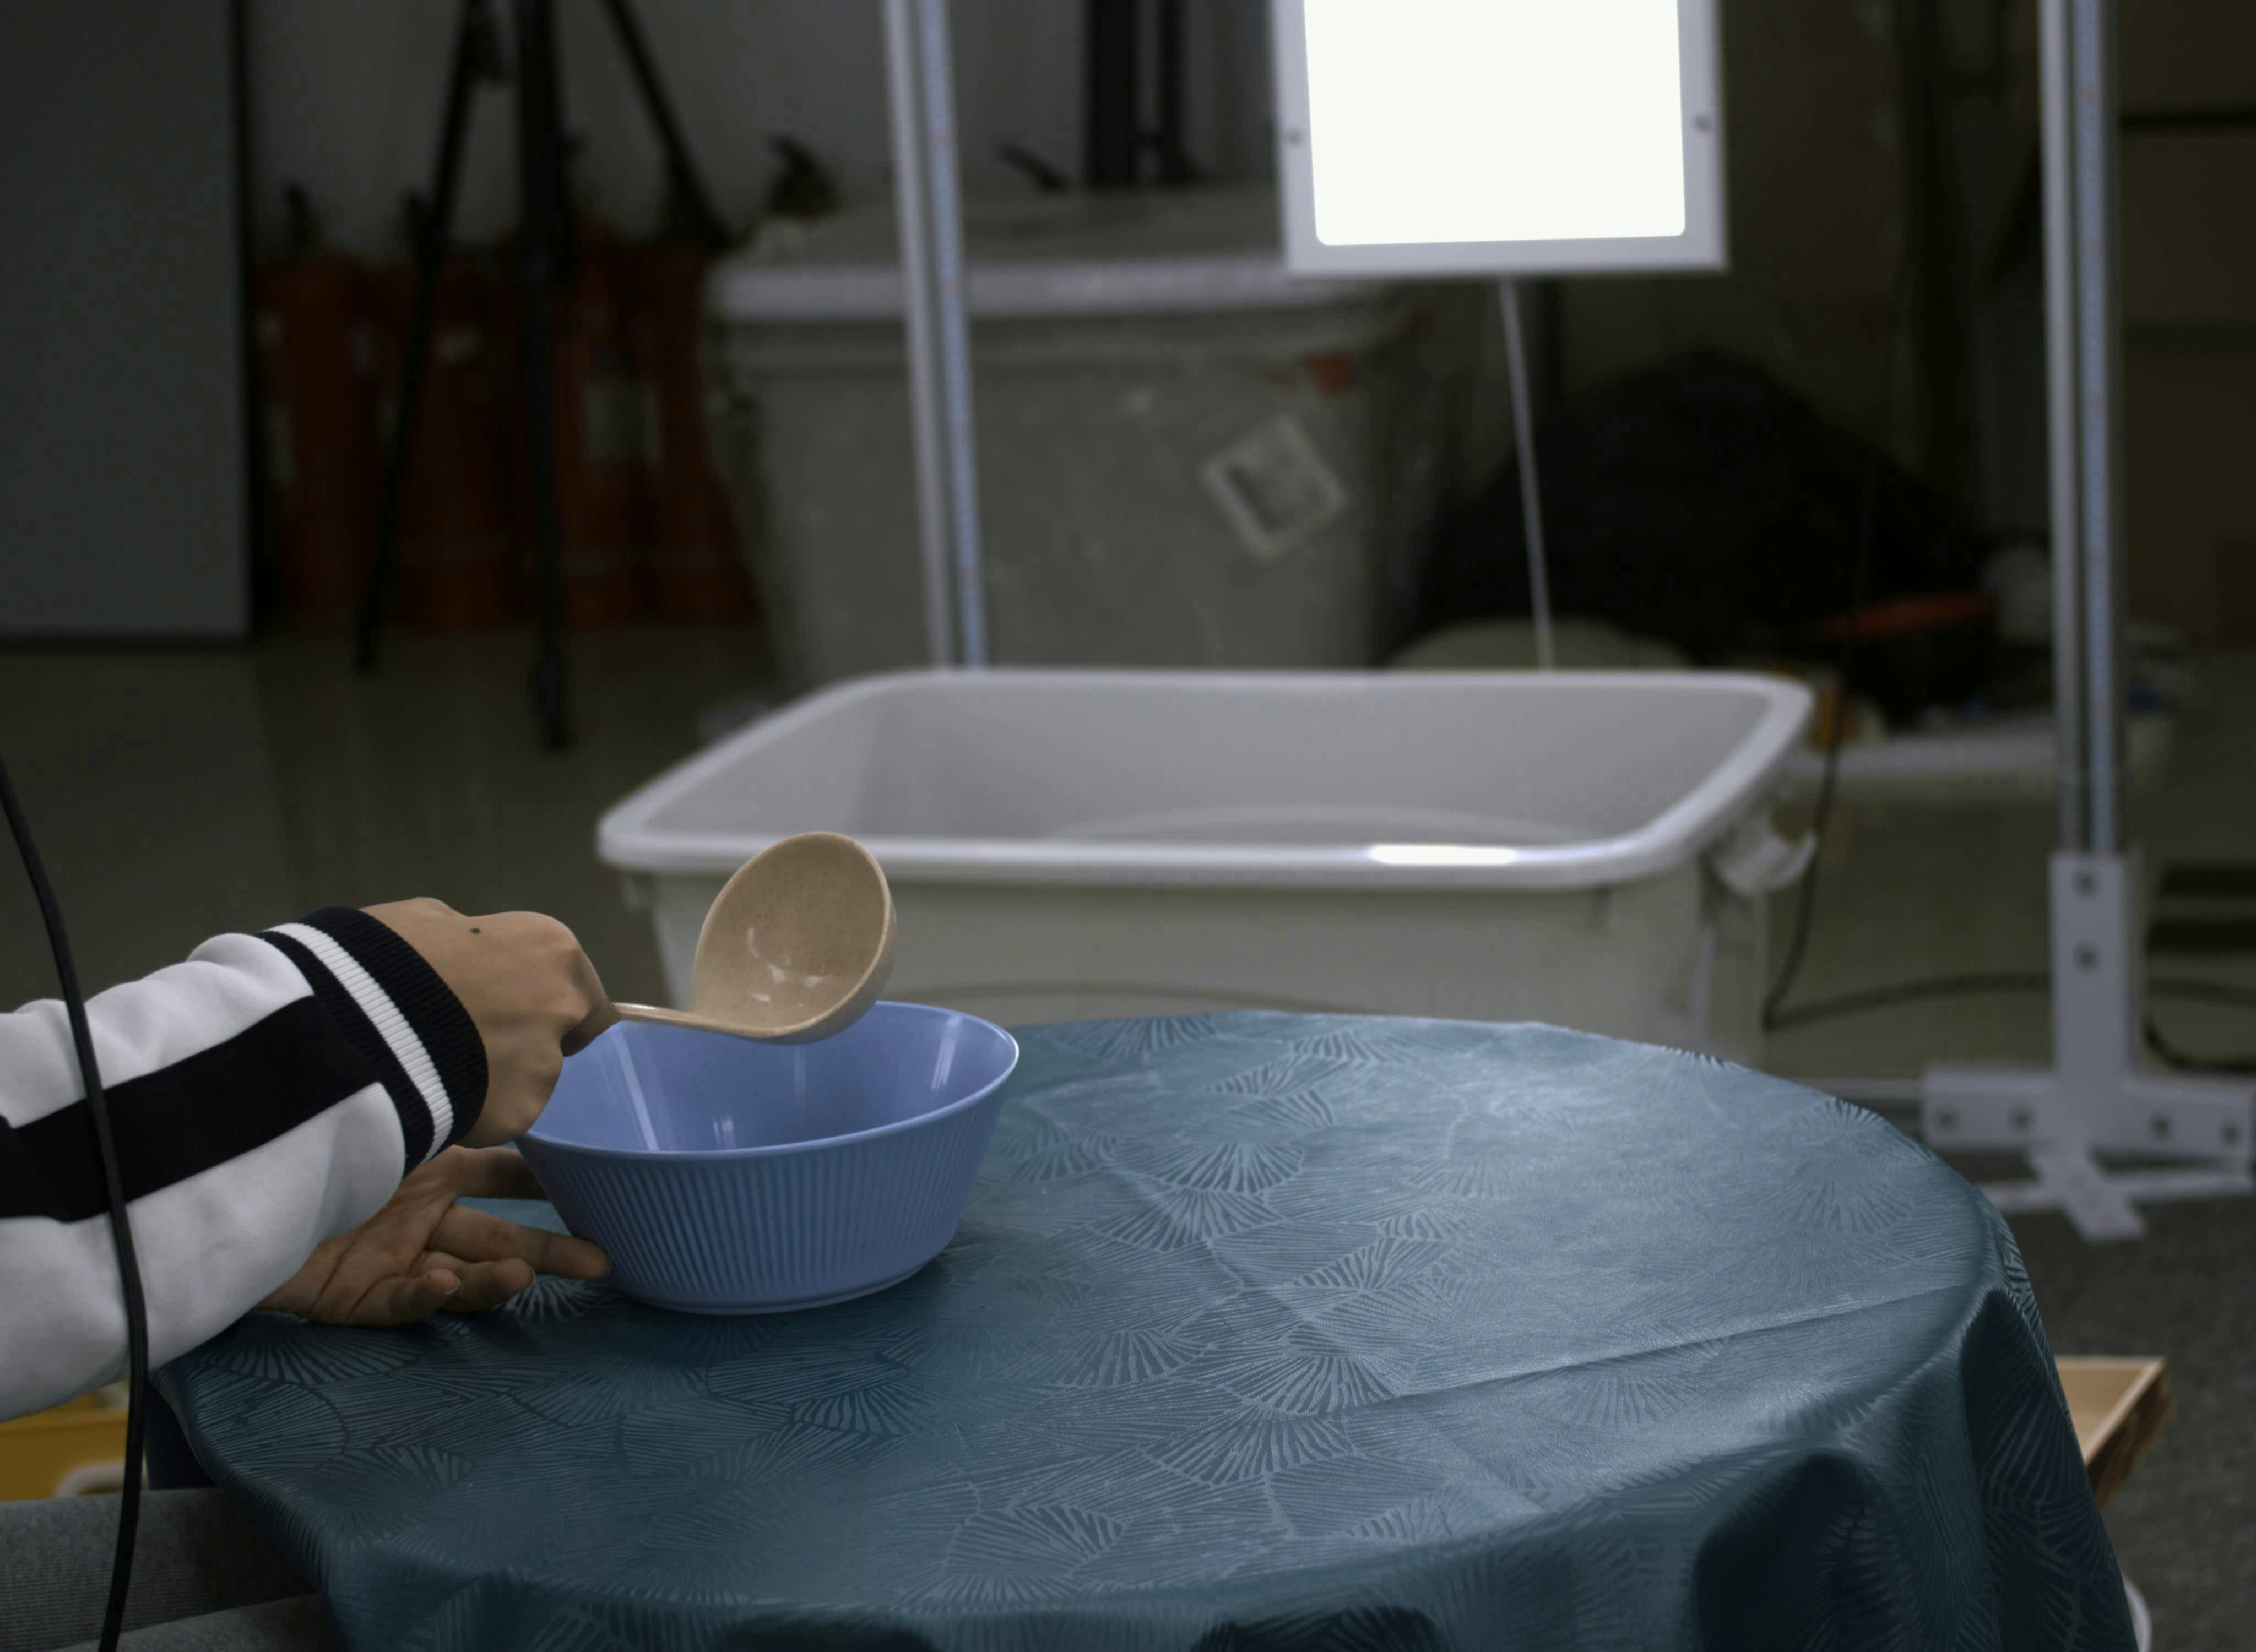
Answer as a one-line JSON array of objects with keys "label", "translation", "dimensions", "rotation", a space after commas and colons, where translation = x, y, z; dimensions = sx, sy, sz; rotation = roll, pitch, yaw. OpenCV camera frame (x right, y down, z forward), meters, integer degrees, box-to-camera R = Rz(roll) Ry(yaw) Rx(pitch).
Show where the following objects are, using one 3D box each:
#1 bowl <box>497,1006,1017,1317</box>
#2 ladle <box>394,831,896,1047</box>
[{"label": "bowl", "translation": [-0.121, 0.115, 1.846], "dimensions": [0.175, 0.070, 0.176], "rotation": [-5, 13, 0]}, {"label": "ladle", "translation": [-0.155, 0.033, 1.744], "dimensions": [0.073, 0.073, 0.249], "rotation": [2, -1, 27]}]
